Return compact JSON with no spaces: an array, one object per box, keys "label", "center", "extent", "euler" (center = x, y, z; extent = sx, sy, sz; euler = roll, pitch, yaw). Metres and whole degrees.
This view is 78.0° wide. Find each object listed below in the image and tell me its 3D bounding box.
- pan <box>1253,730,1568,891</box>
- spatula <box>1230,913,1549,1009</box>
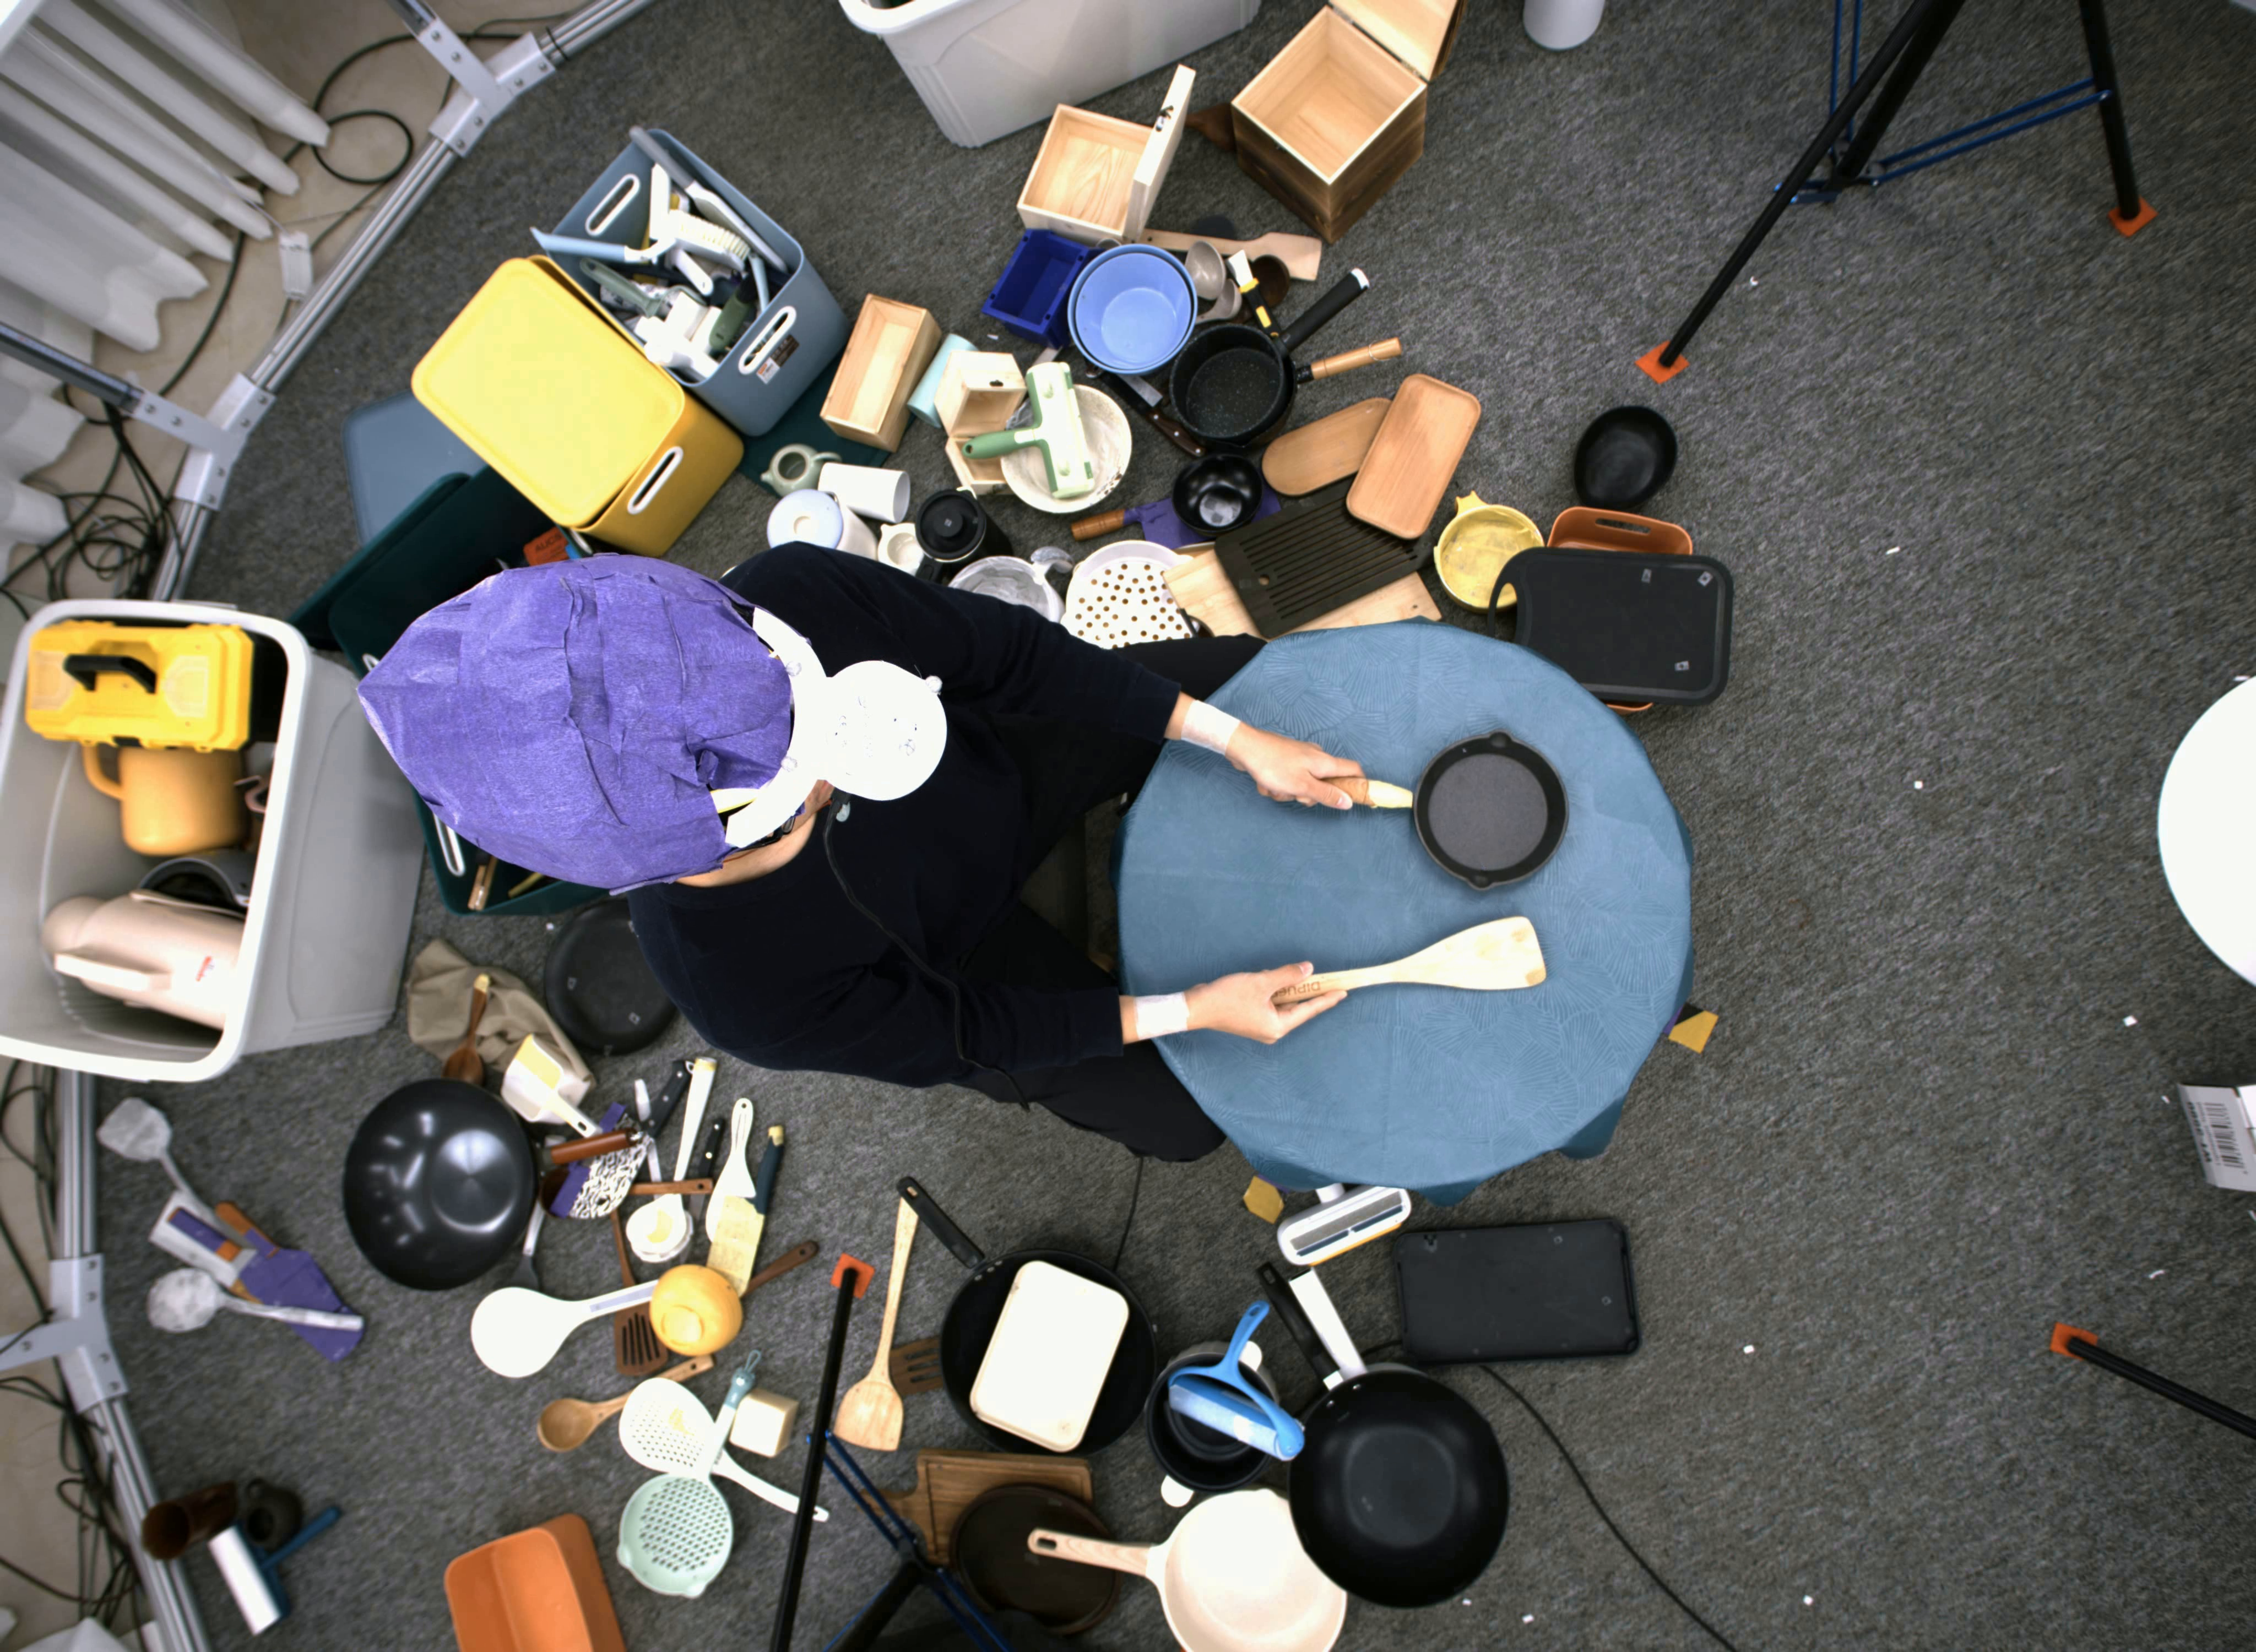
[{"label":"pan","center":[0.292,-0.033,1.432],"extent":[0.325,0.049,0.168],"euler":[10,90,8]},{"label":"spatula","center":[0.266,0.149,1.417],"extent":[0.328,0.016,0.081],"euler":[-10,106,2]}]
